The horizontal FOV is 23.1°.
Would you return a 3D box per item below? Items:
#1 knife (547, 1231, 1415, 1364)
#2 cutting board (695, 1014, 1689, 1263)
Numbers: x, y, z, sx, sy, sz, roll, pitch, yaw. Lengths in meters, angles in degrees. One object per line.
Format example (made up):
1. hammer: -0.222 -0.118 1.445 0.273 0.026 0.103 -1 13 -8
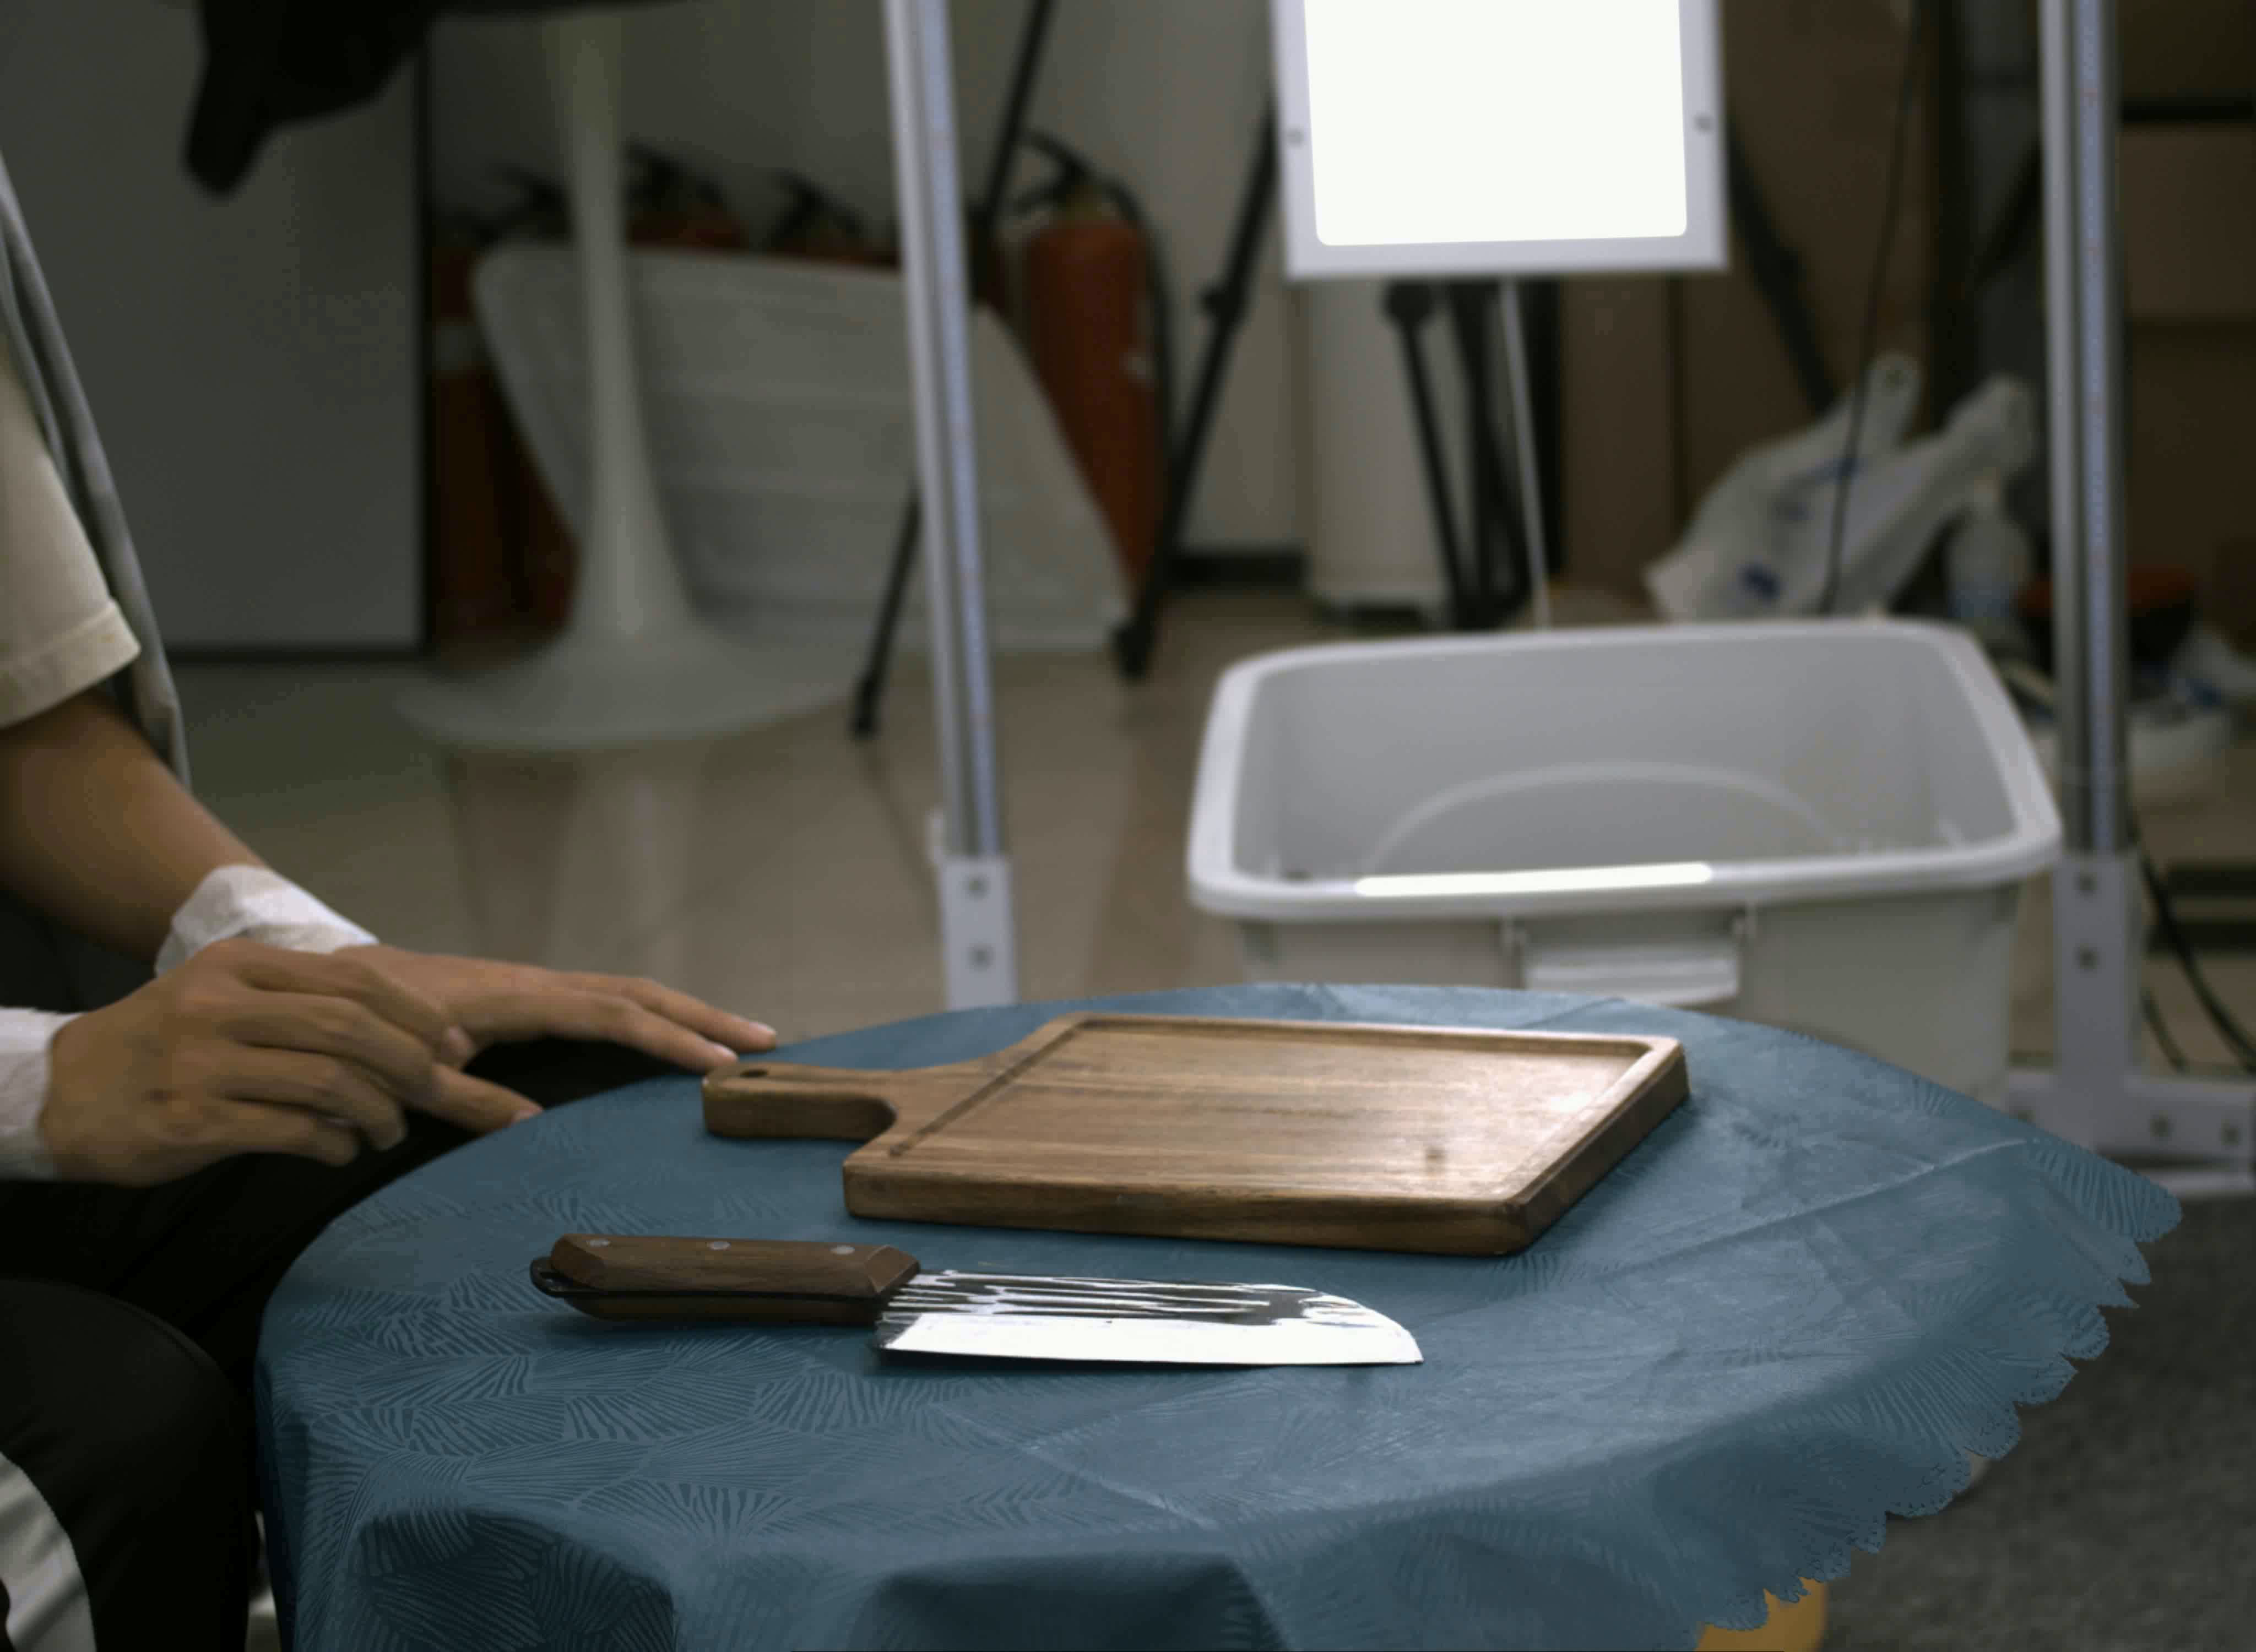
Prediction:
1. knife: -0.051 0.154 1.760 0.302 0.024 0.067 2 17 16
2. cutting board: 0.006 0.106 1.947 0.358 0.023 0.197 0 16 25
